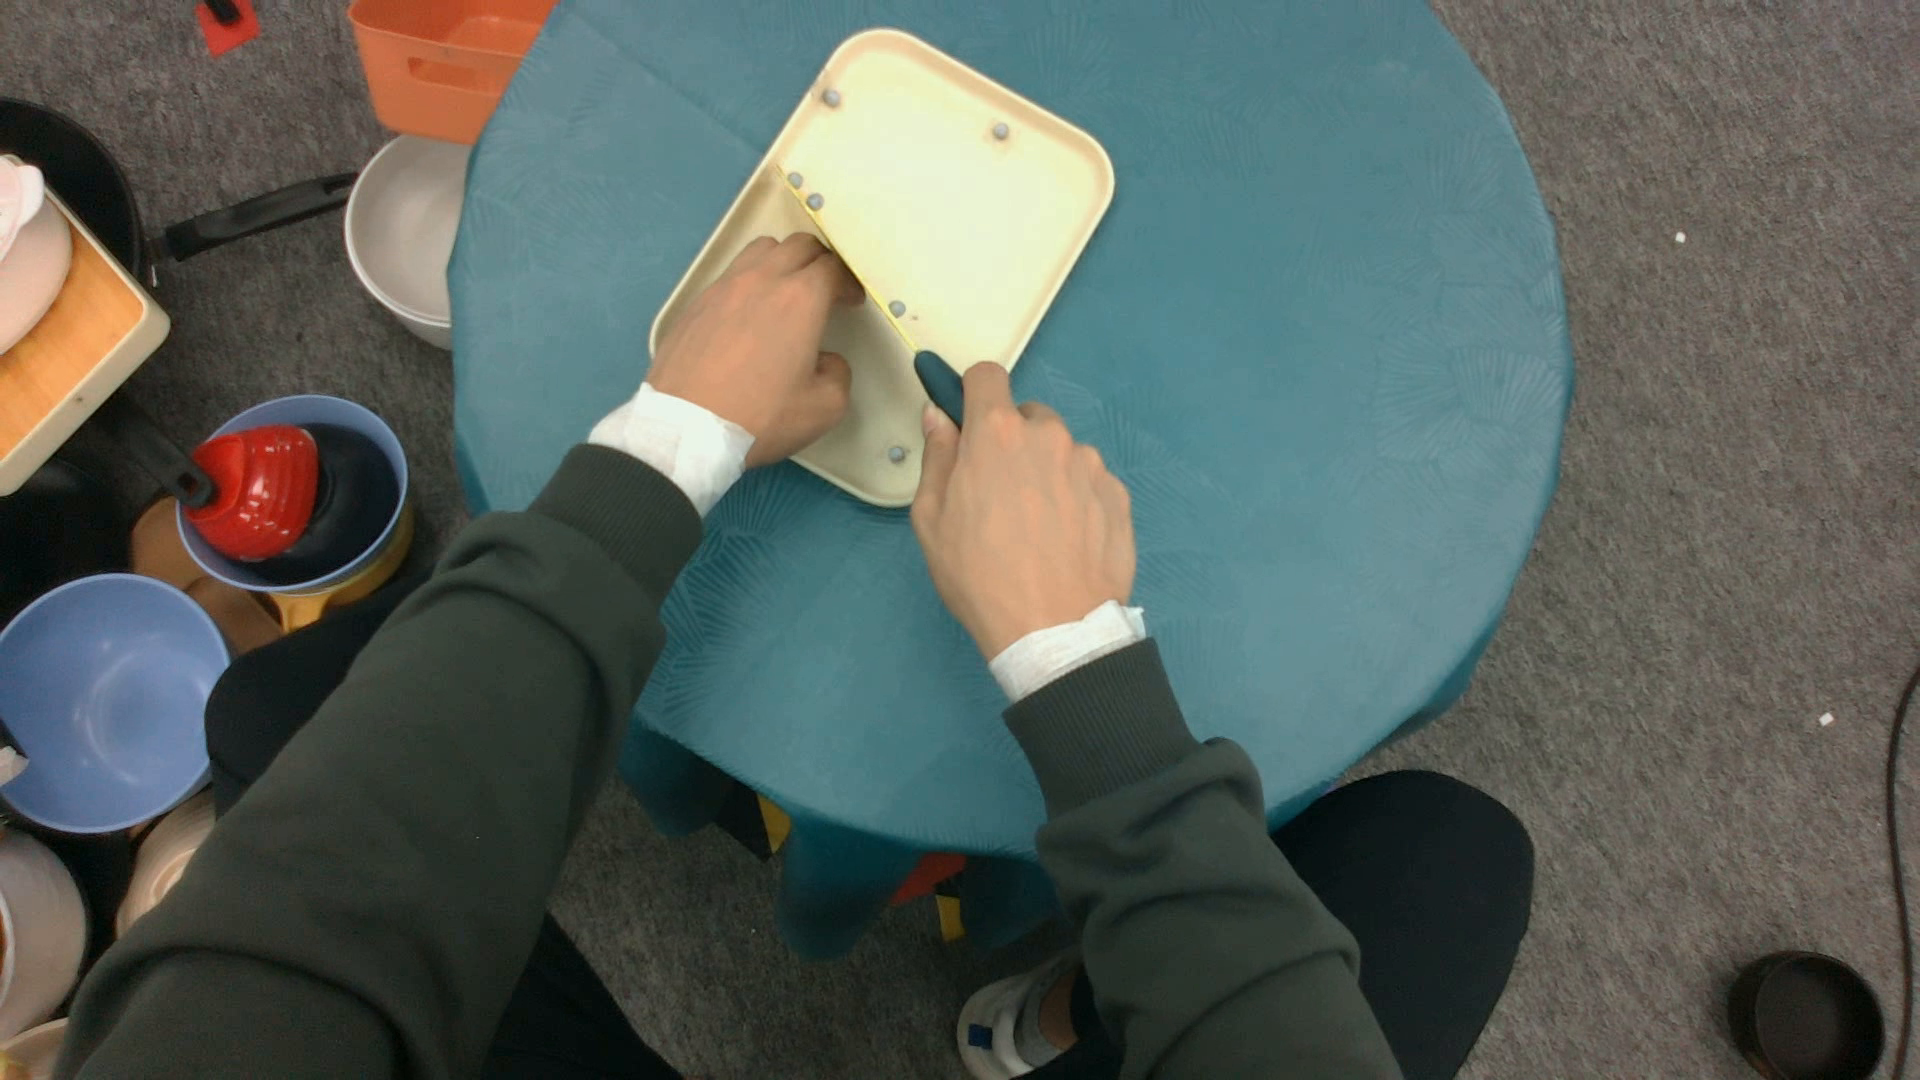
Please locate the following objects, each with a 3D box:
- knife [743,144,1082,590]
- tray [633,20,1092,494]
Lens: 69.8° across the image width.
[{"bbox_3d":[-0.029,-0.090,0.660,0.027,0.081,0.290,-37,70,5],"label":"knife"},{"bbox_3d":[-0.048,-0.152,0.726,0.171,0.017,0.240,29,75,1],"label":"tray"}]
